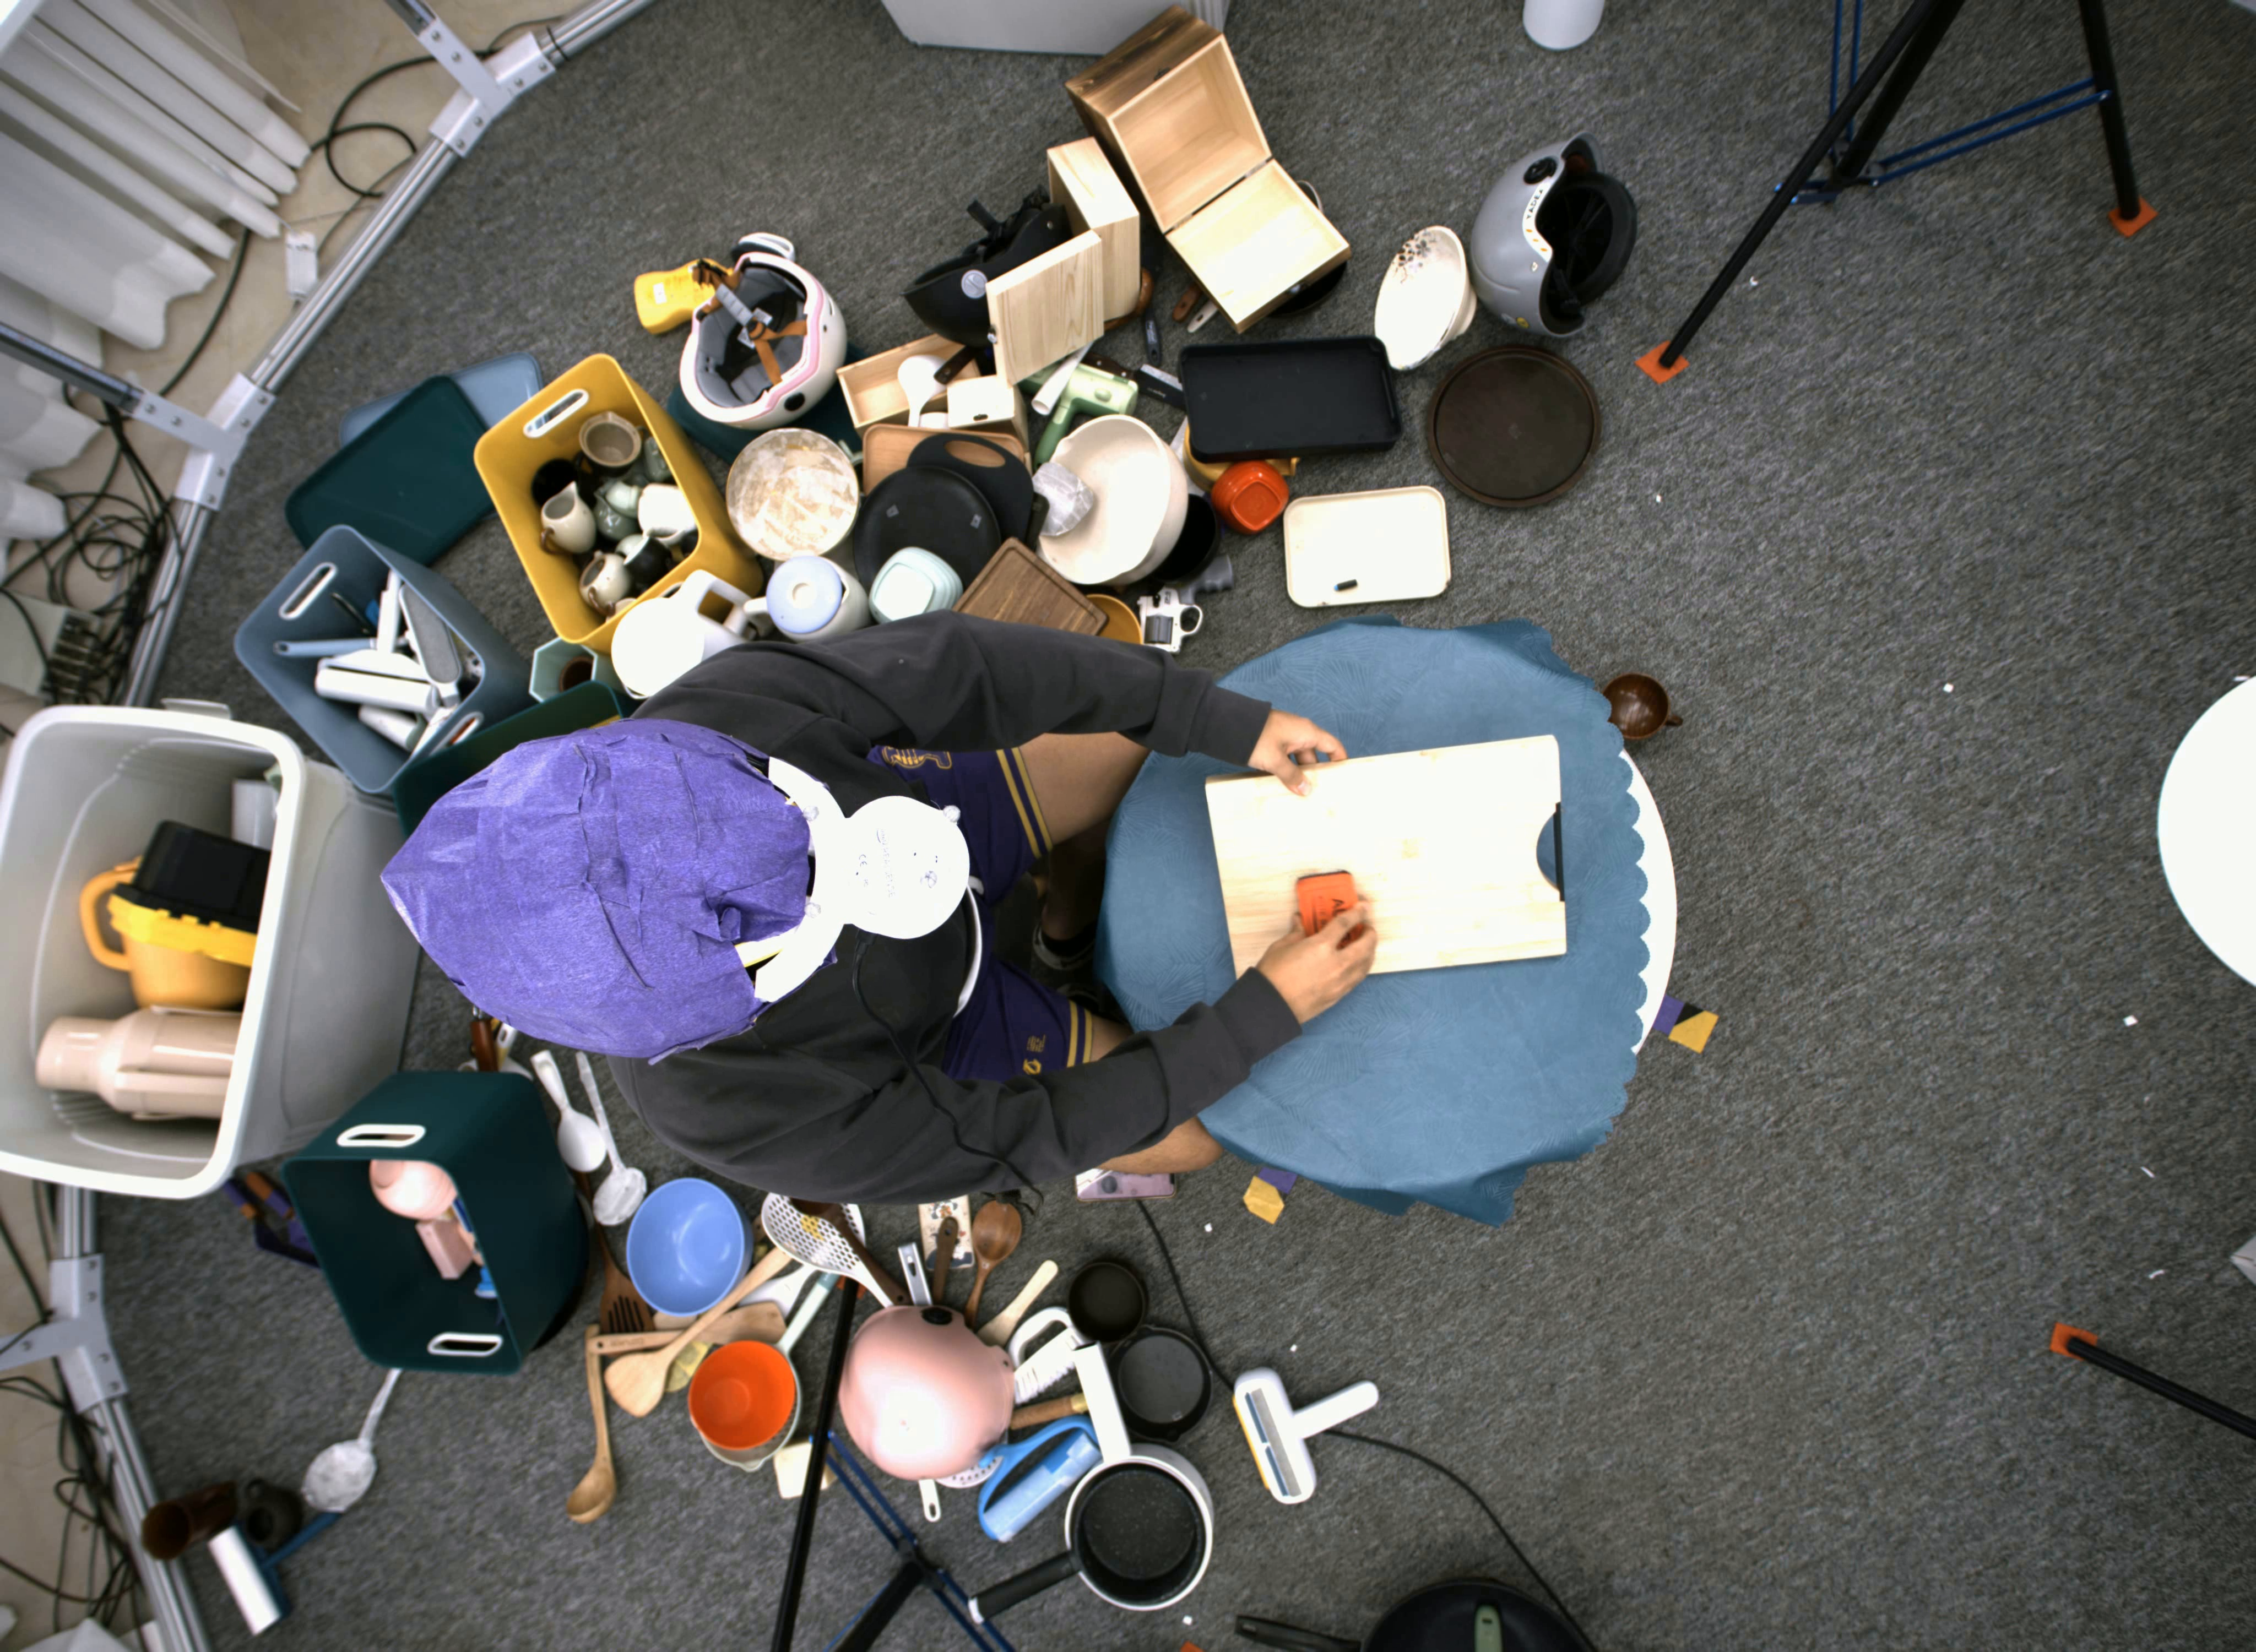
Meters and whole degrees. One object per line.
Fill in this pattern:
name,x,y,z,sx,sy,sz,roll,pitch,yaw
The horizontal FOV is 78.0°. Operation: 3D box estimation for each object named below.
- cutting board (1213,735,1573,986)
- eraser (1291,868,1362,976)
cutting board,0.268,0.039,1.389,0.350,0.023,0.255,-7,118,10
eraser,0.202,0.097,1.401,0.059,0.022,0.110,-11,115,6
